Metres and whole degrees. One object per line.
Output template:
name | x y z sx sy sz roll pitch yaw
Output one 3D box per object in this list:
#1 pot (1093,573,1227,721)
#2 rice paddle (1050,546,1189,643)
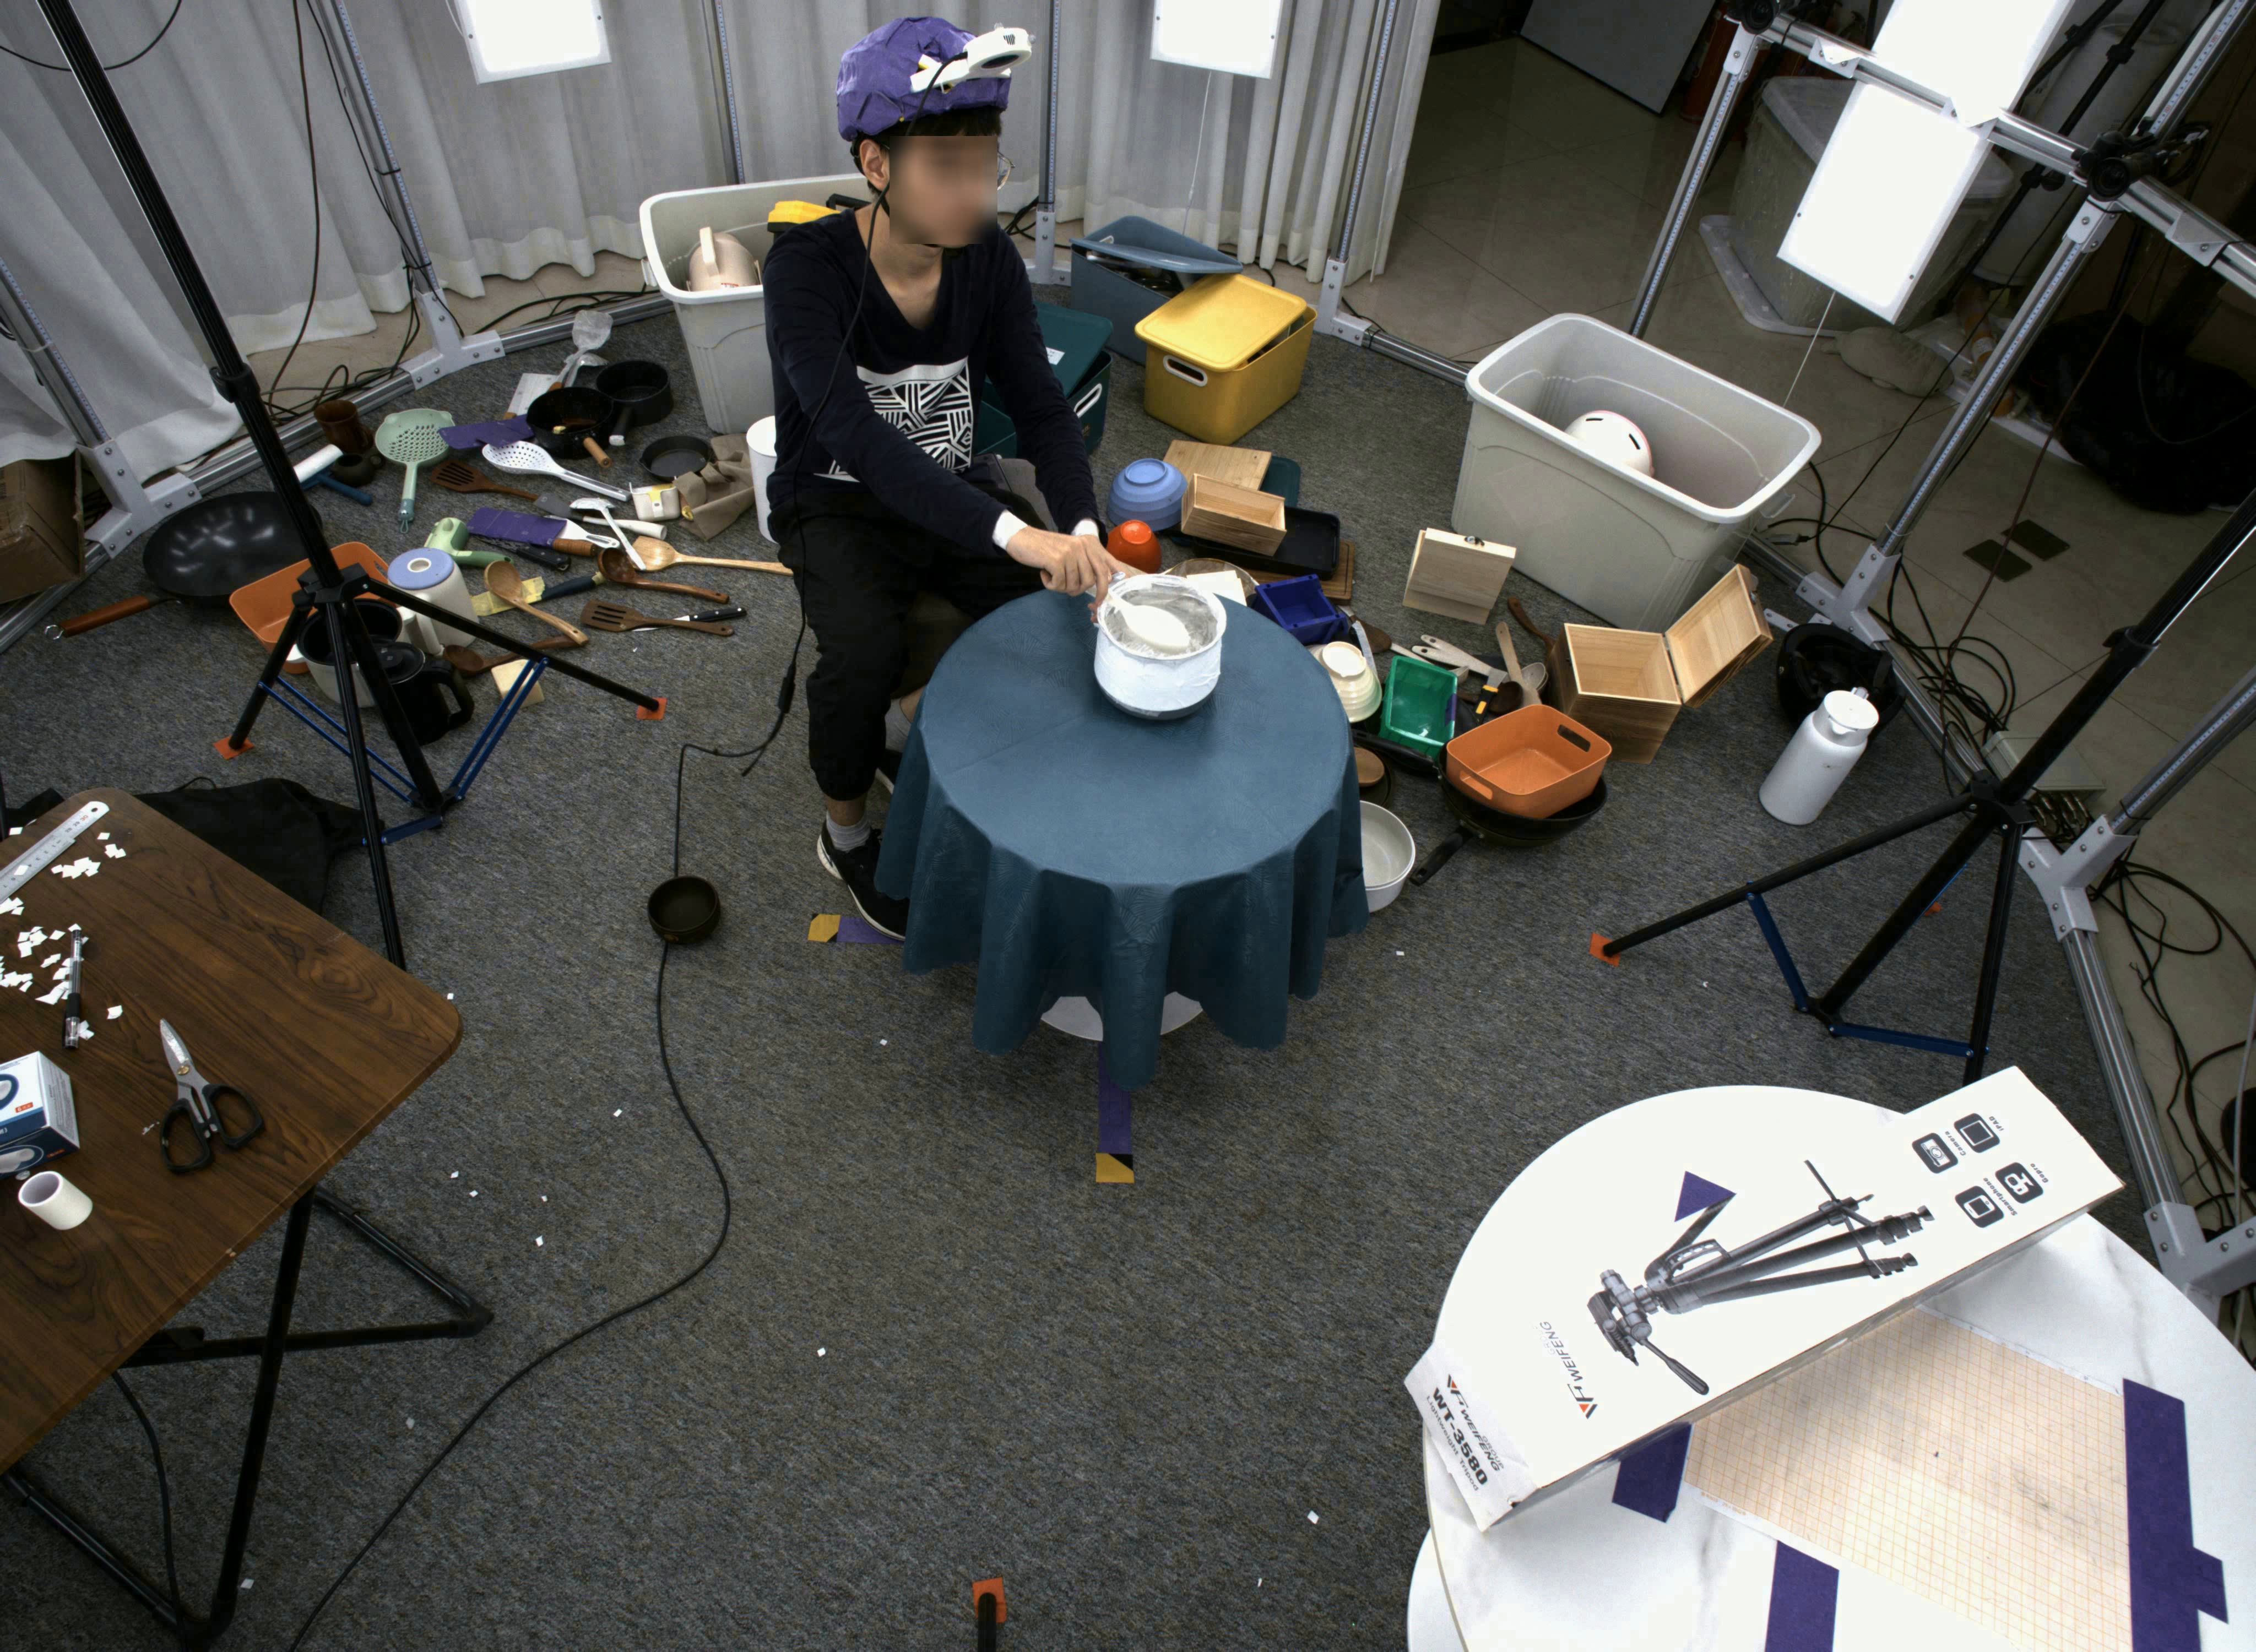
pot | 0.027 -0.262 1.812 0.179 0.133 0.238 -25 53 -26
rice paddle | -0.008 -0.305 1.709 0.204 0.068 0.030 30 49 -11
